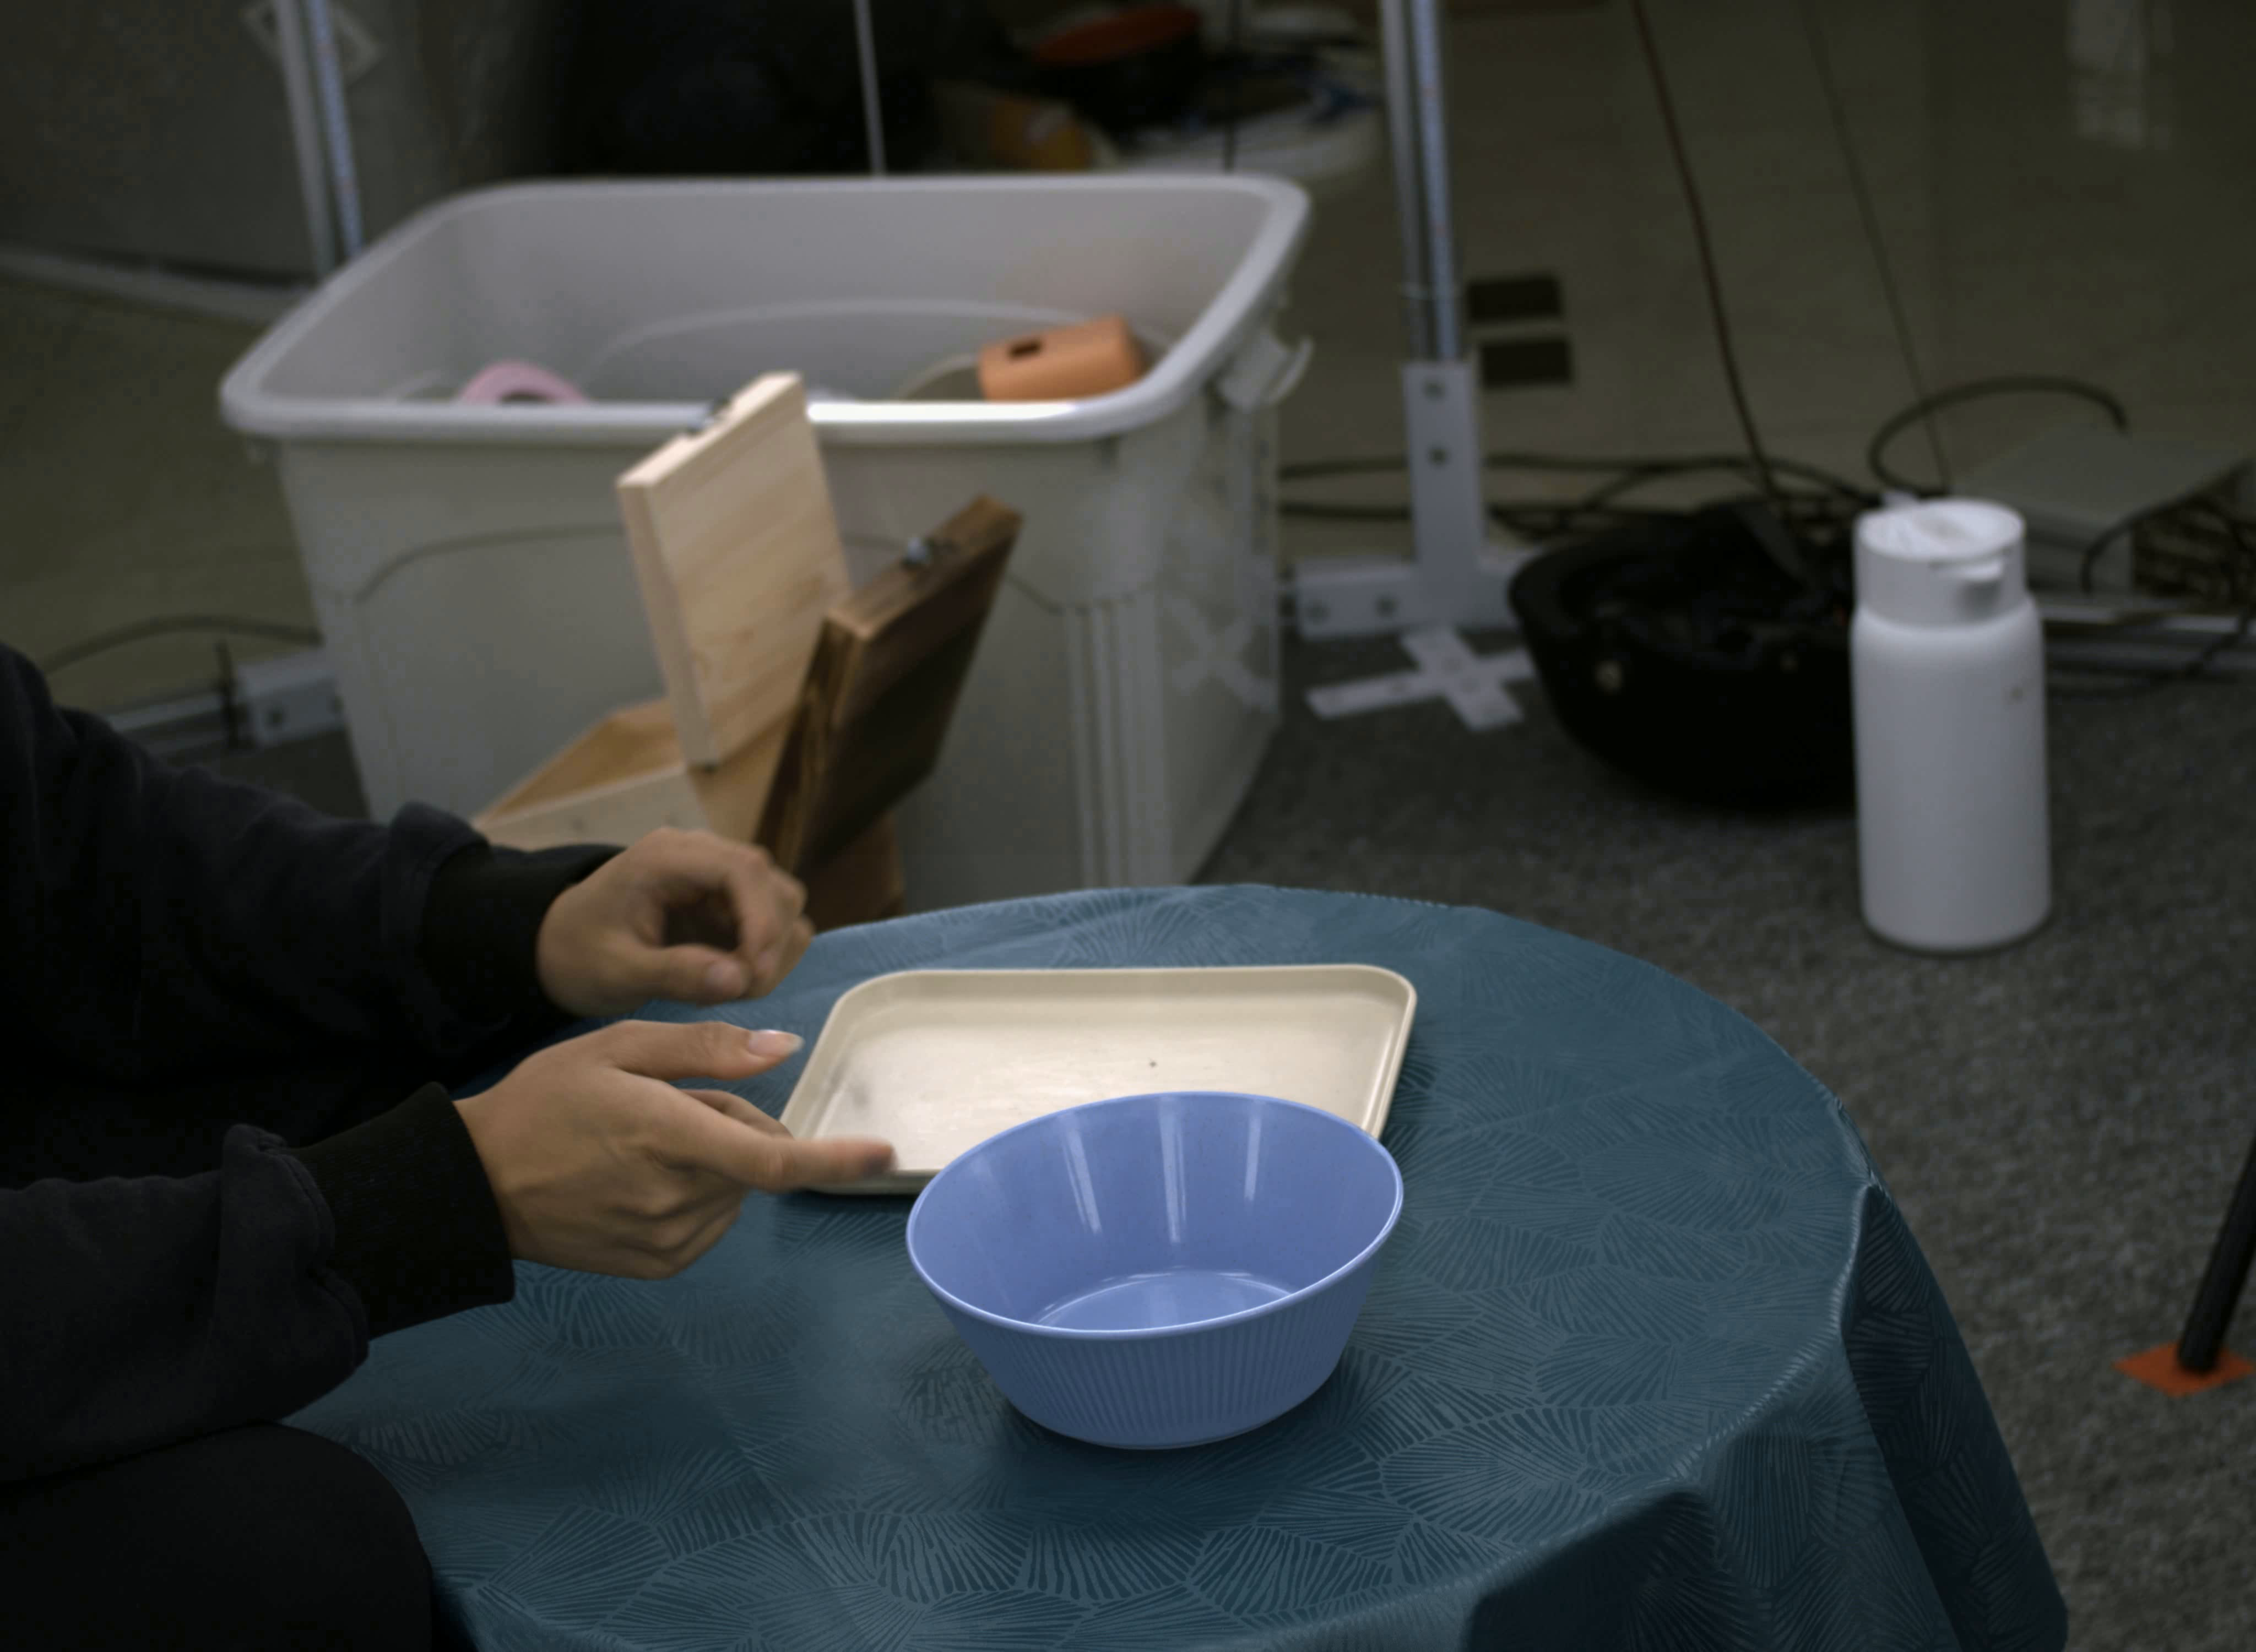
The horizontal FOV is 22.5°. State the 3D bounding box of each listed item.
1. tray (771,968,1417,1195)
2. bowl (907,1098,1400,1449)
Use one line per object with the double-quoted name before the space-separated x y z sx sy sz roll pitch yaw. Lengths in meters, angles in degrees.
"tray" -0.011 0.101 2.216 0.239 0.018 0.169 -1 25 12
"bowl" 0.012 0.164 2.010 0.176 0.071 0.173 -5 24 3
